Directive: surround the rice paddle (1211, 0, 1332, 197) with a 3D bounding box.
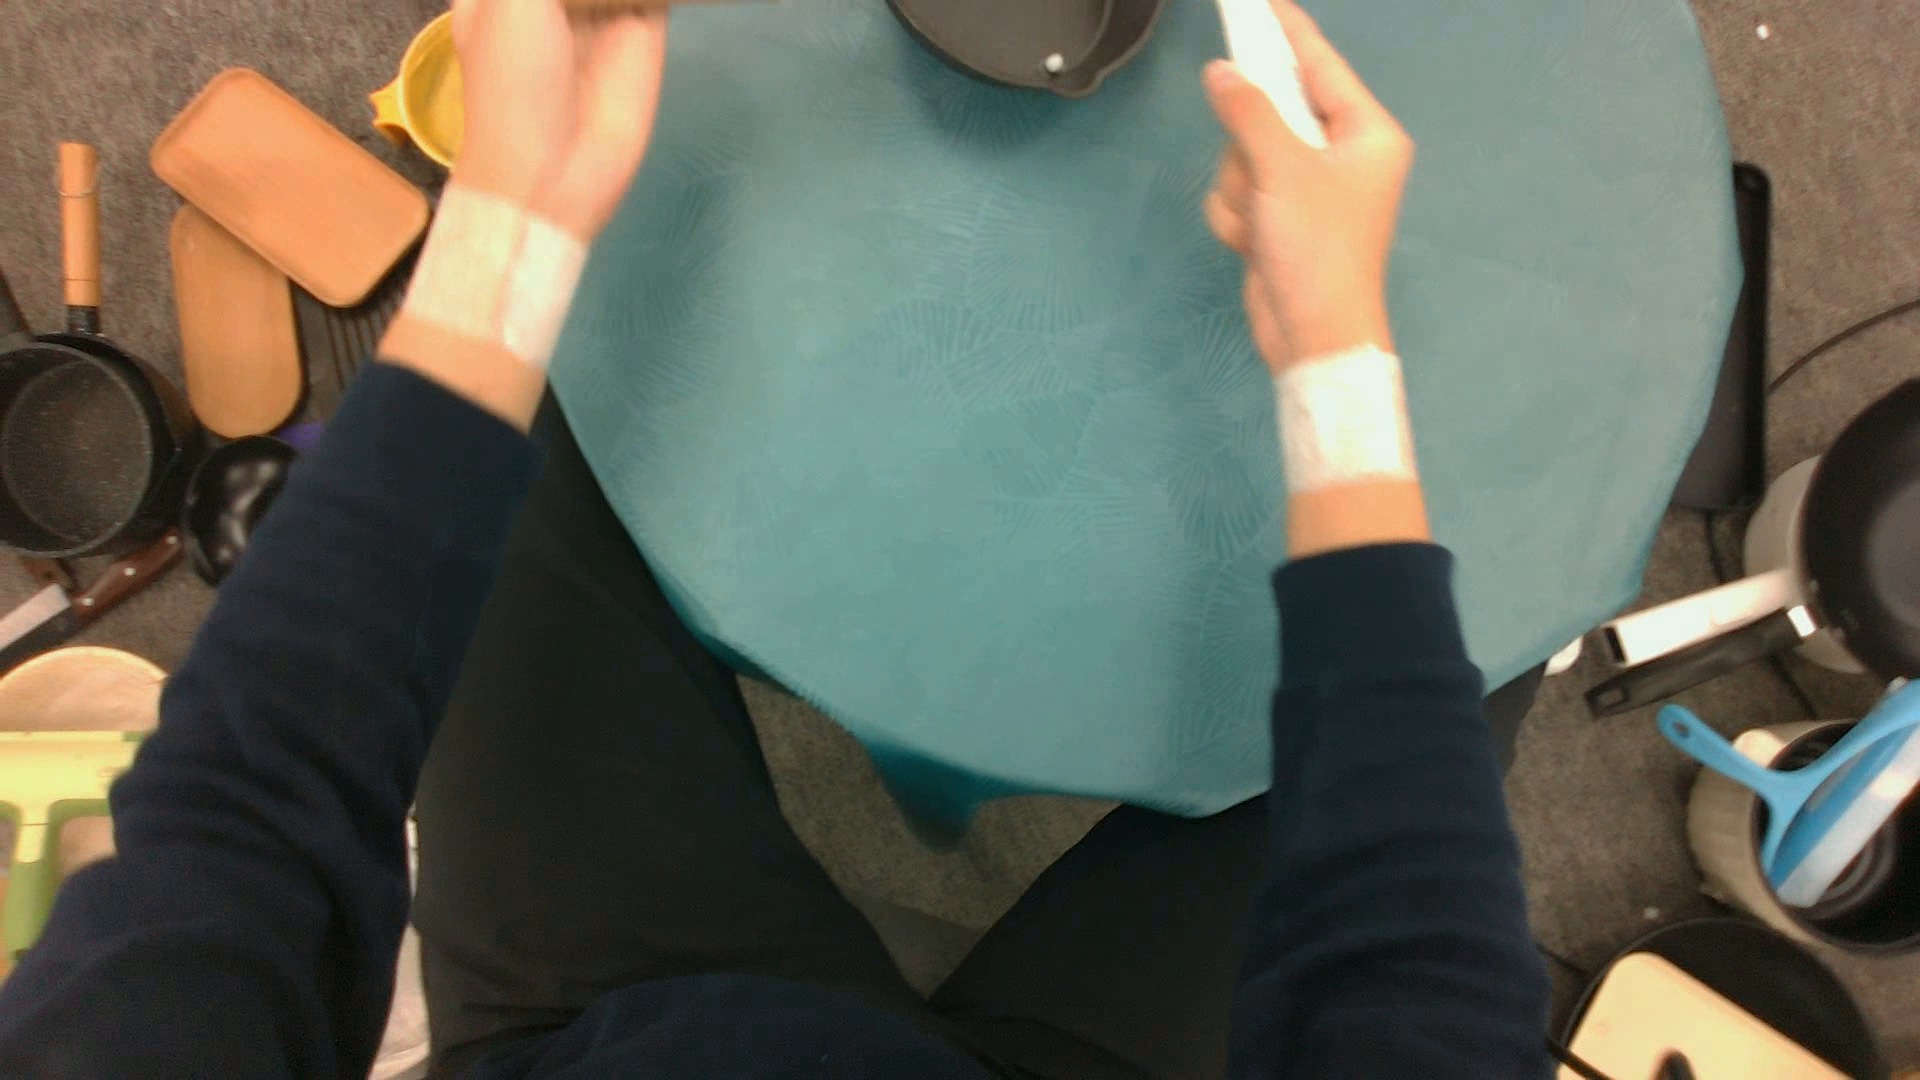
[{"bbox_3d":[0.118,-0.251,0.599,0.069,0.029,0.205,-11,84,-31],"label":"rice paddle"}]

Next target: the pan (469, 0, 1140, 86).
[{"bbox_3d":[-0.058,-0.262,0.612,0.325,0.049,0.169,-19,86,-24],"label":"pan"}]
